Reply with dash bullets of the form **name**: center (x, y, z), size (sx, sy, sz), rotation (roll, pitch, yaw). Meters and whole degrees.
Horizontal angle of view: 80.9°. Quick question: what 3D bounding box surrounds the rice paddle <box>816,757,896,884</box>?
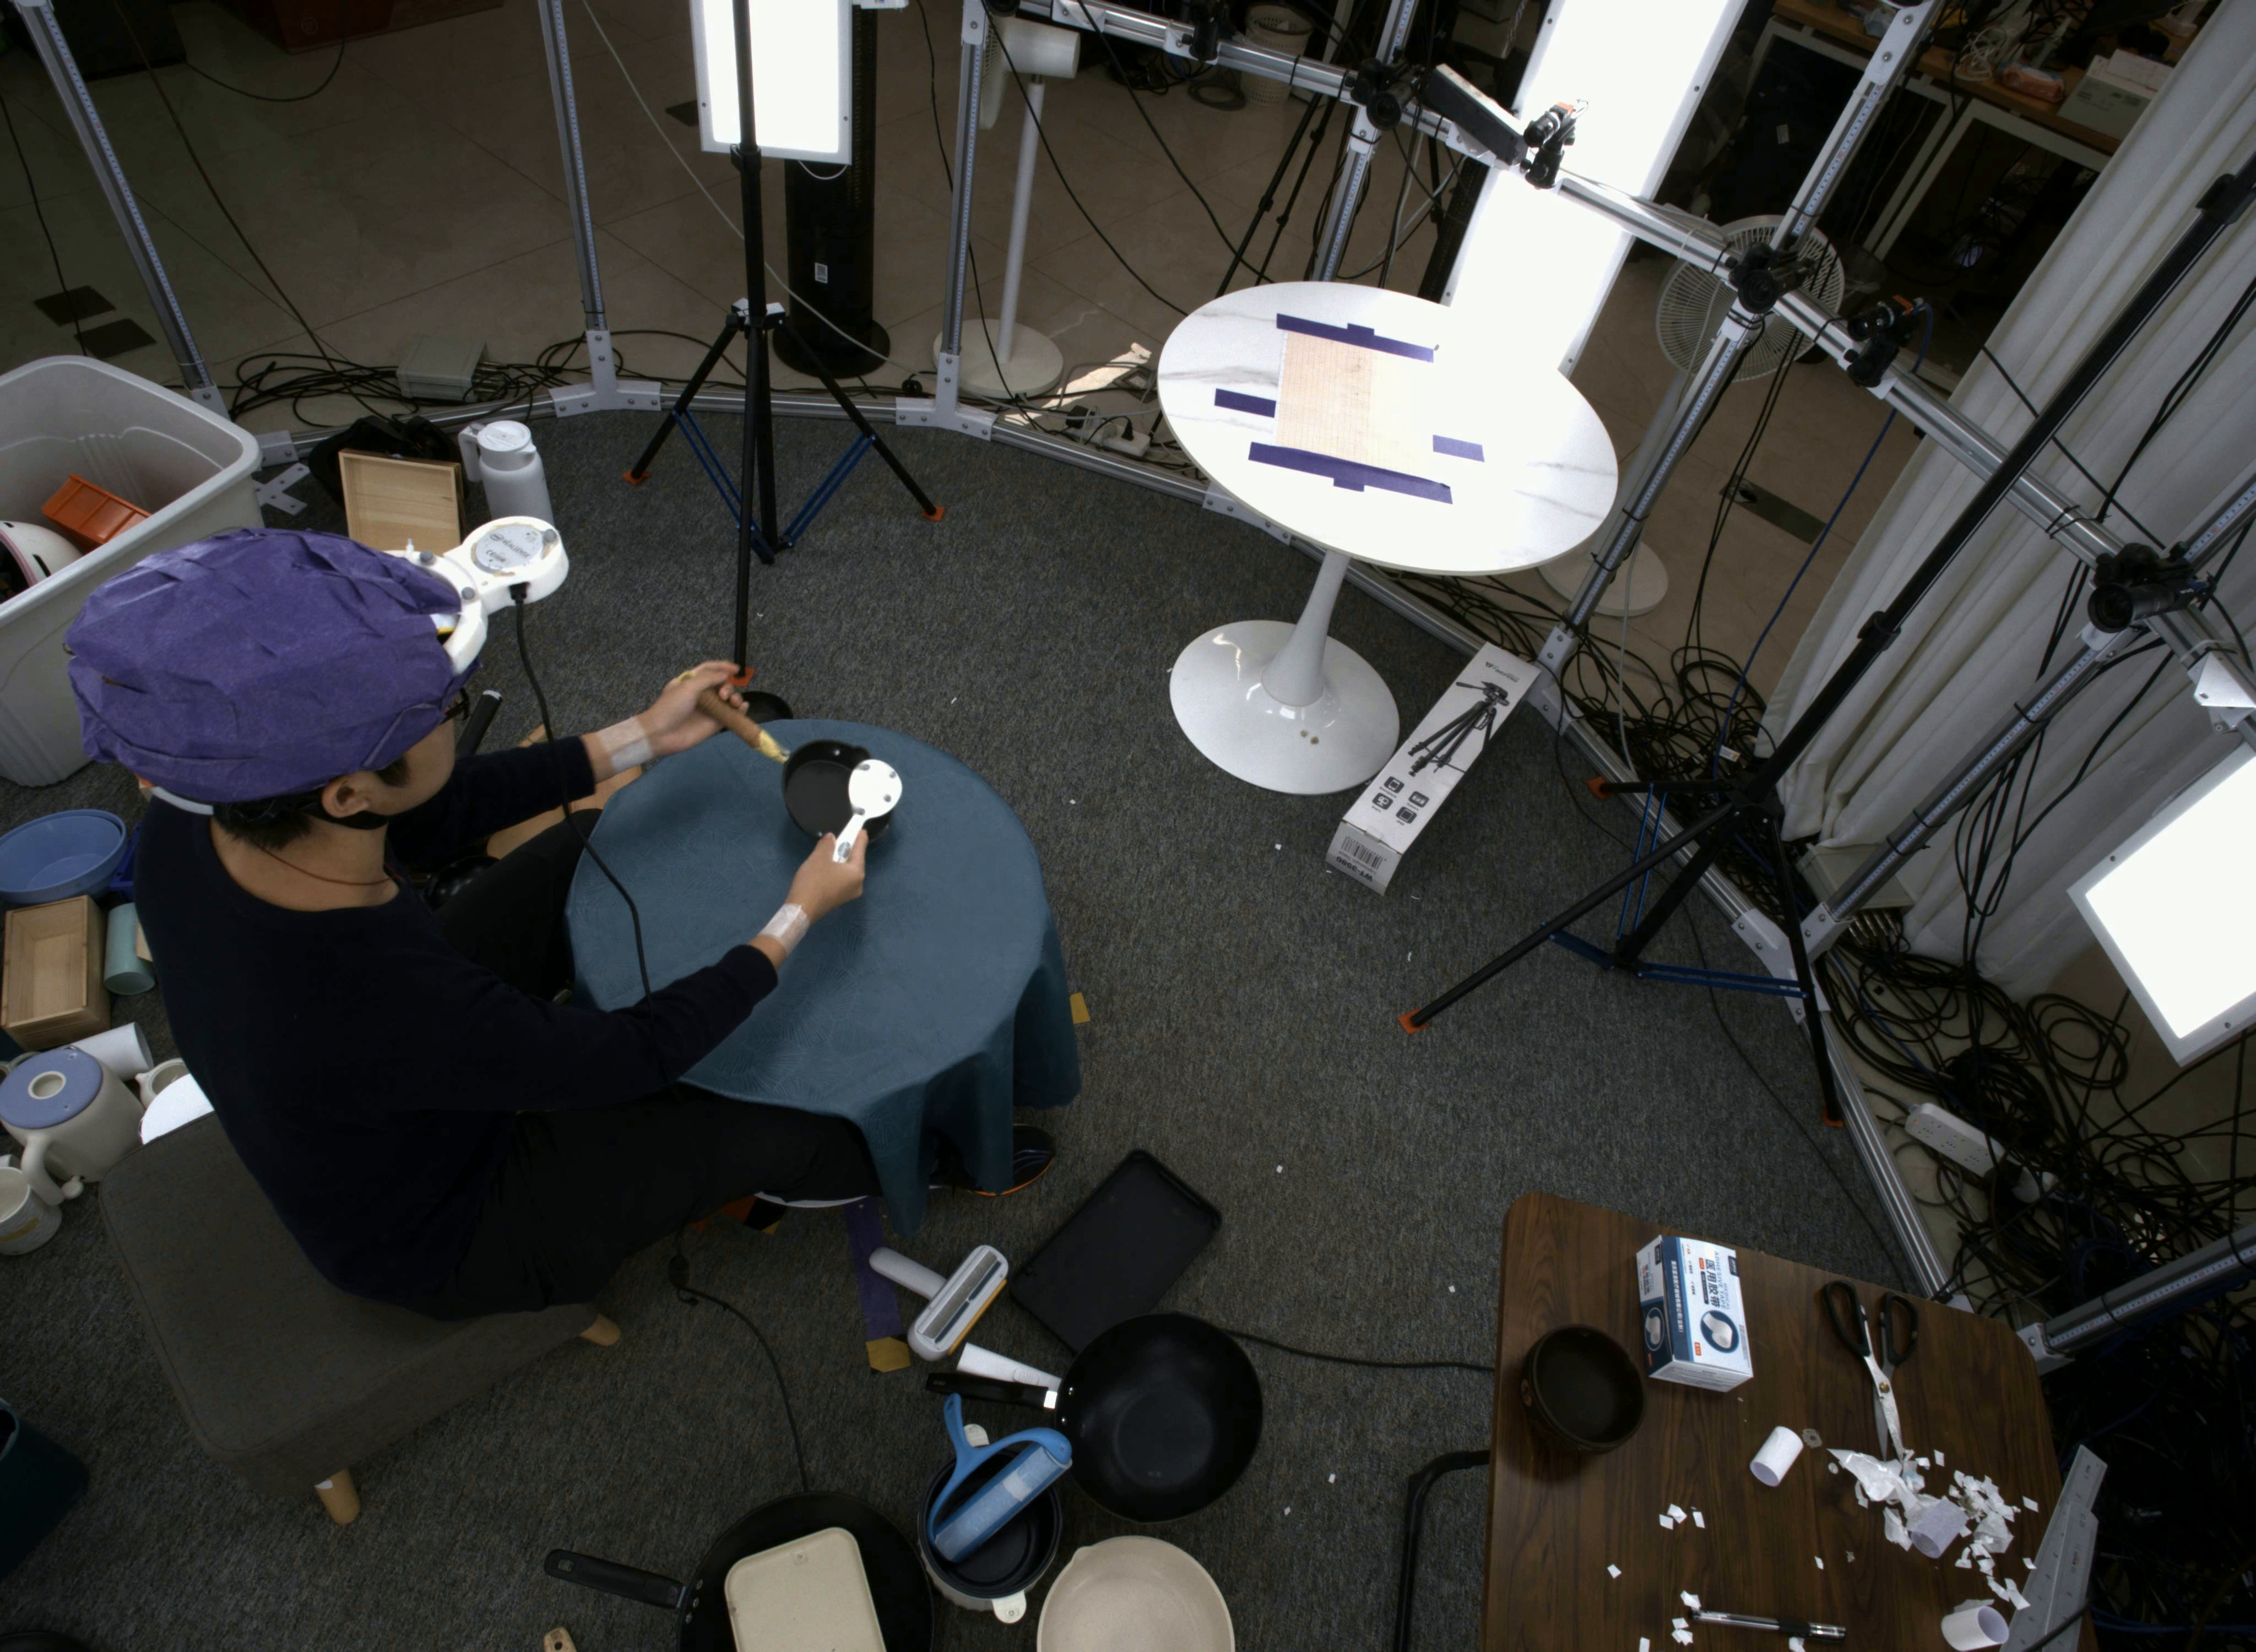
- **rice paddle**: center (-0.344, -0.015, 1.641), size (0.070, 0.029, 0.202), rotation (32, 46, -18)

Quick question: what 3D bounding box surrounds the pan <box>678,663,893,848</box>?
- **pan**: center (-0.445, -0.094, 1.666), size (0.331, 0.049, 0.167), rotation (40, 47, -20)
